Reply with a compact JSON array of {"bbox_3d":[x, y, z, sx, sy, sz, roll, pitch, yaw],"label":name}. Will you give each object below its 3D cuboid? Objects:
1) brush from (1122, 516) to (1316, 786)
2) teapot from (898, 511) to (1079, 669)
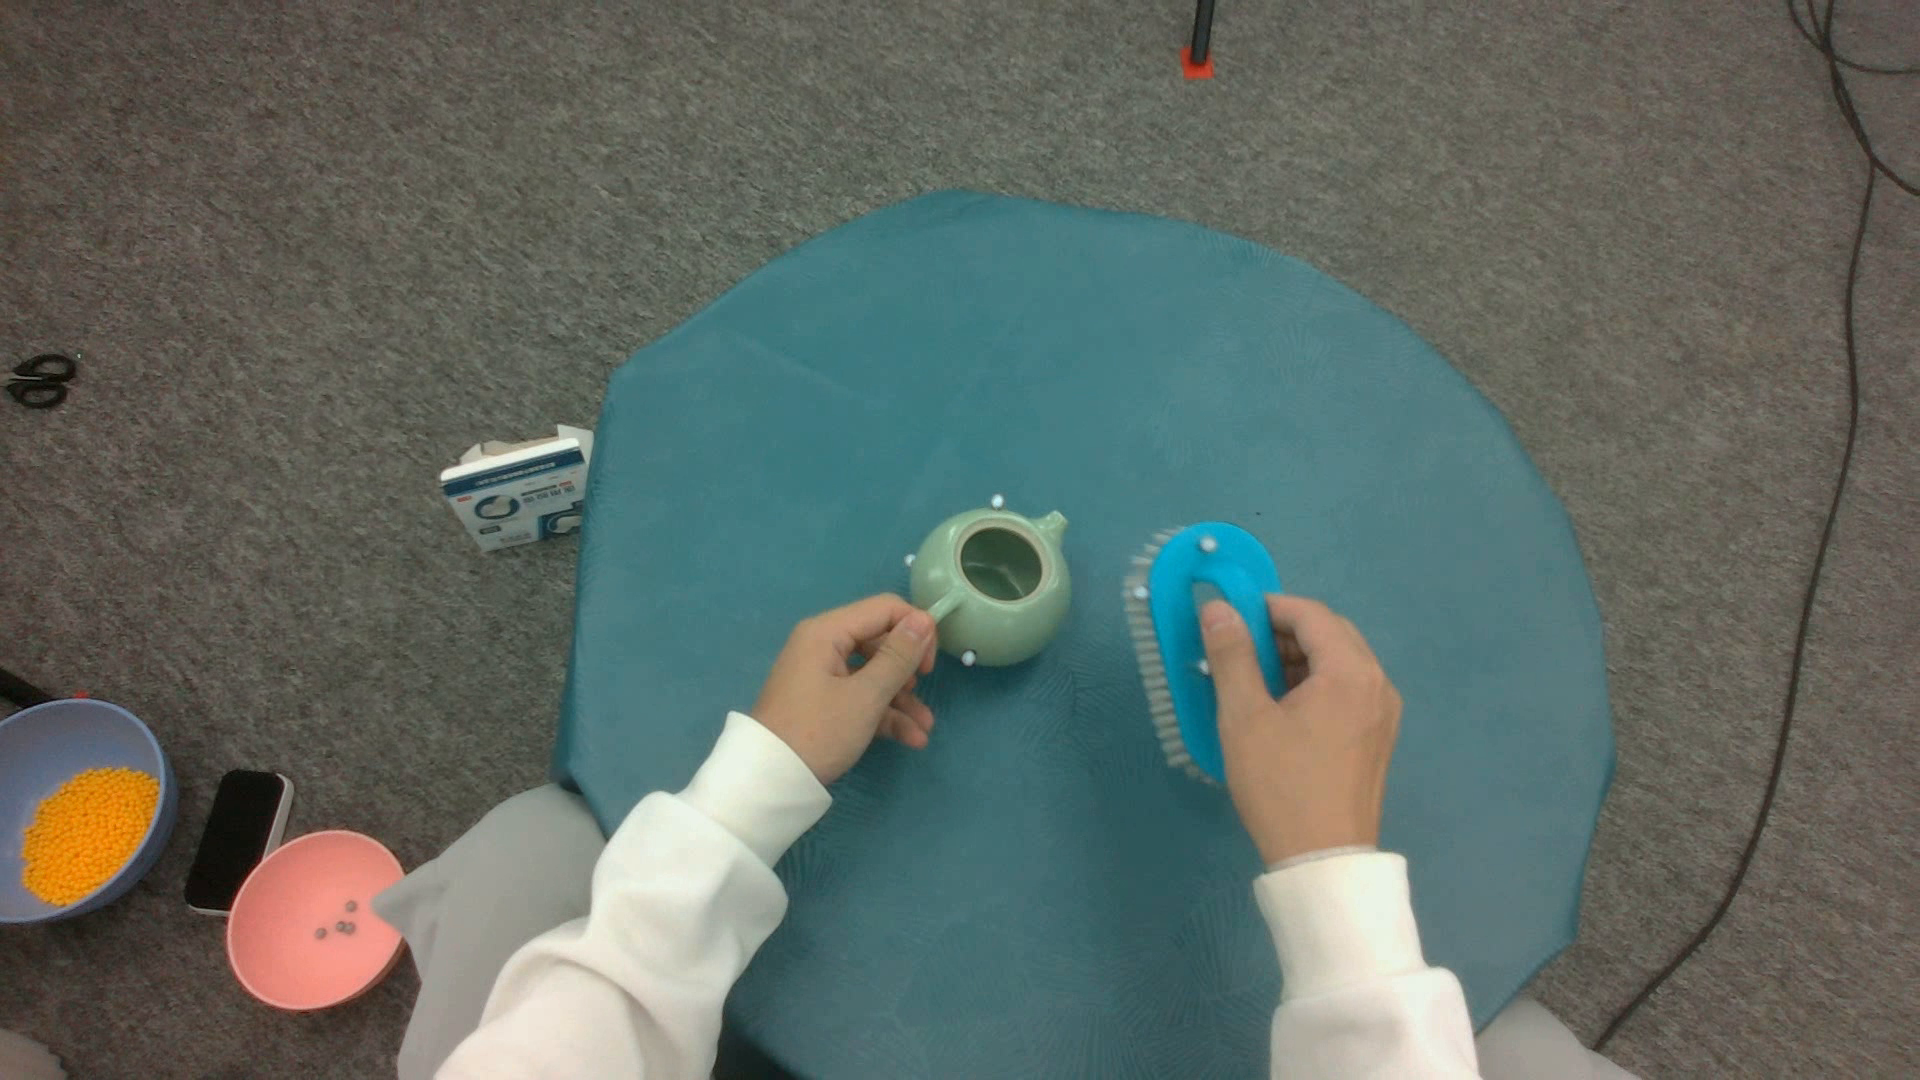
[{"bbox_3d":[0.140,0.055,0.700,0.084,0.063,0.142,-14,88,-23],"label":"brush"},{"bbox_3d":[0.015,0.033,0.779,0.129,0.060,0.091,-33,73,-29],"label":"teapot"}]
